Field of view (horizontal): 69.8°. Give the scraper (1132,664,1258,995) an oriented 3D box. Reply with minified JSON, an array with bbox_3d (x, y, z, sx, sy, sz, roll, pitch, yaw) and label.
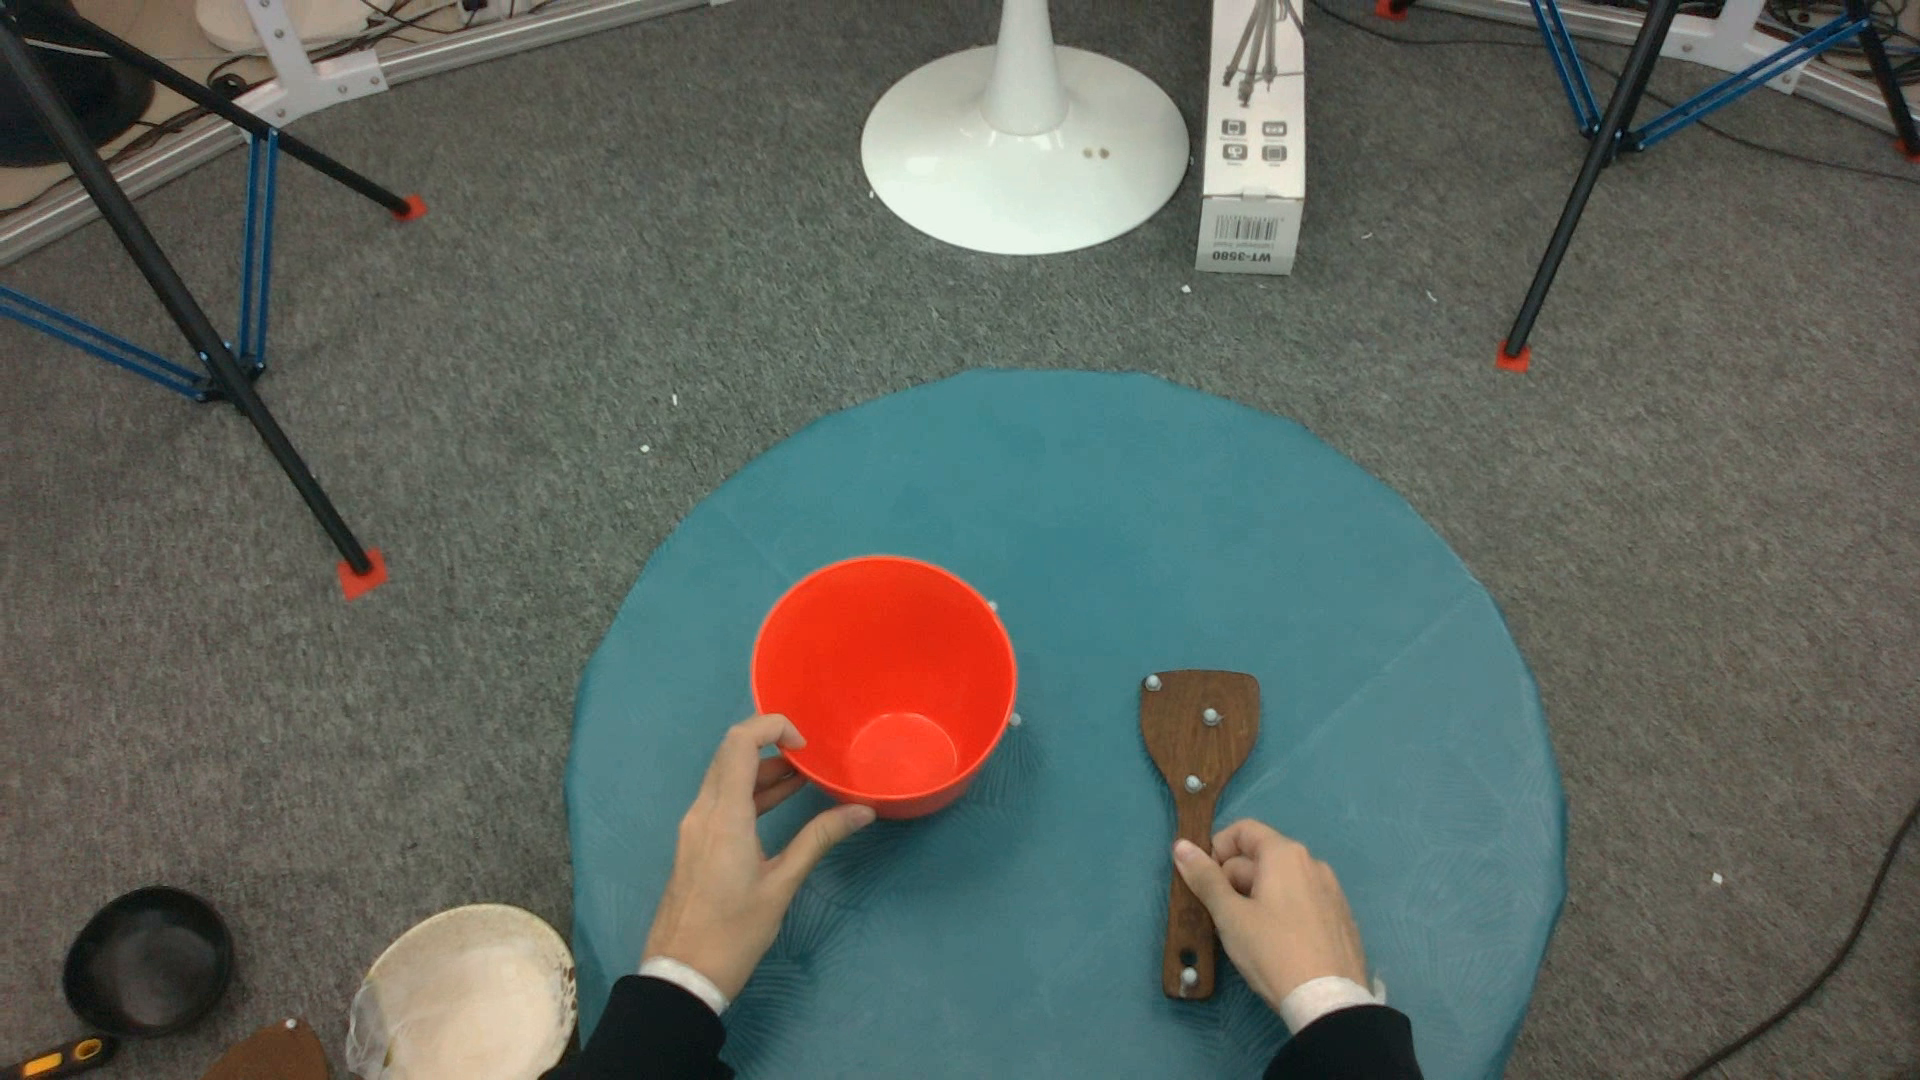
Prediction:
[{"bbox_3d":[0.132,0.160,0.795,0.076,0.011,0.212,0,49,13],"label":"scraper"}]

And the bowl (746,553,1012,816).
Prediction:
[{"bbox_3d":[-0.044,0.096,0.799,0.148,0.104,0.148,0,53,0],"label":"bowl"}]
